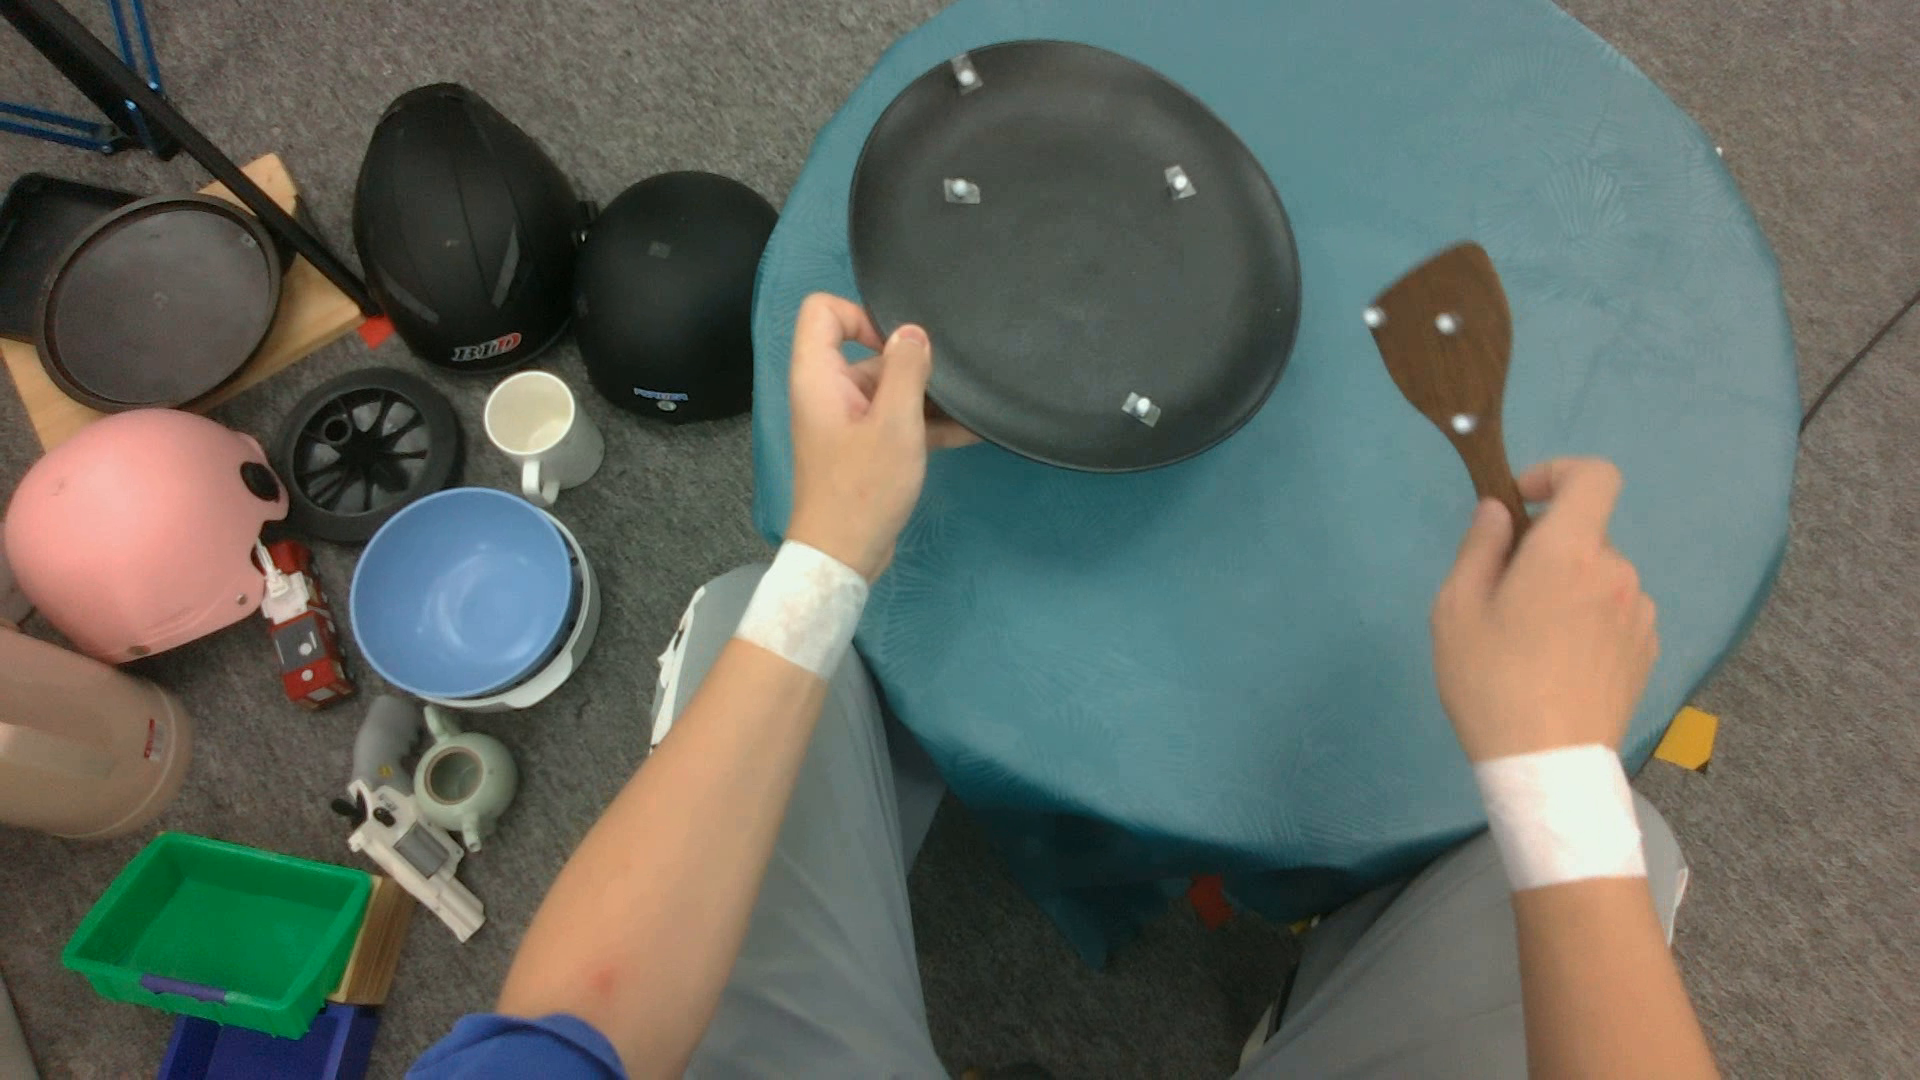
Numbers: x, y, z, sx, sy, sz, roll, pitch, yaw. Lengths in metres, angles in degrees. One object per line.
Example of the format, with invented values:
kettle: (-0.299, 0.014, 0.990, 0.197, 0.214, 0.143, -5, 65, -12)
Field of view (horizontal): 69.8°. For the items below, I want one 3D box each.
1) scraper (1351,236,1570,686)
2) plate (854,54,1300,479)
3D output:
scraper: (0.239, -0.036, 0.641, 0.011, 0.075, 0.211, -5, 73, -30)
plate: (0.063, -0.145, 0.723, 0.244, 0.023, 0.245, 4, 72, -14)
